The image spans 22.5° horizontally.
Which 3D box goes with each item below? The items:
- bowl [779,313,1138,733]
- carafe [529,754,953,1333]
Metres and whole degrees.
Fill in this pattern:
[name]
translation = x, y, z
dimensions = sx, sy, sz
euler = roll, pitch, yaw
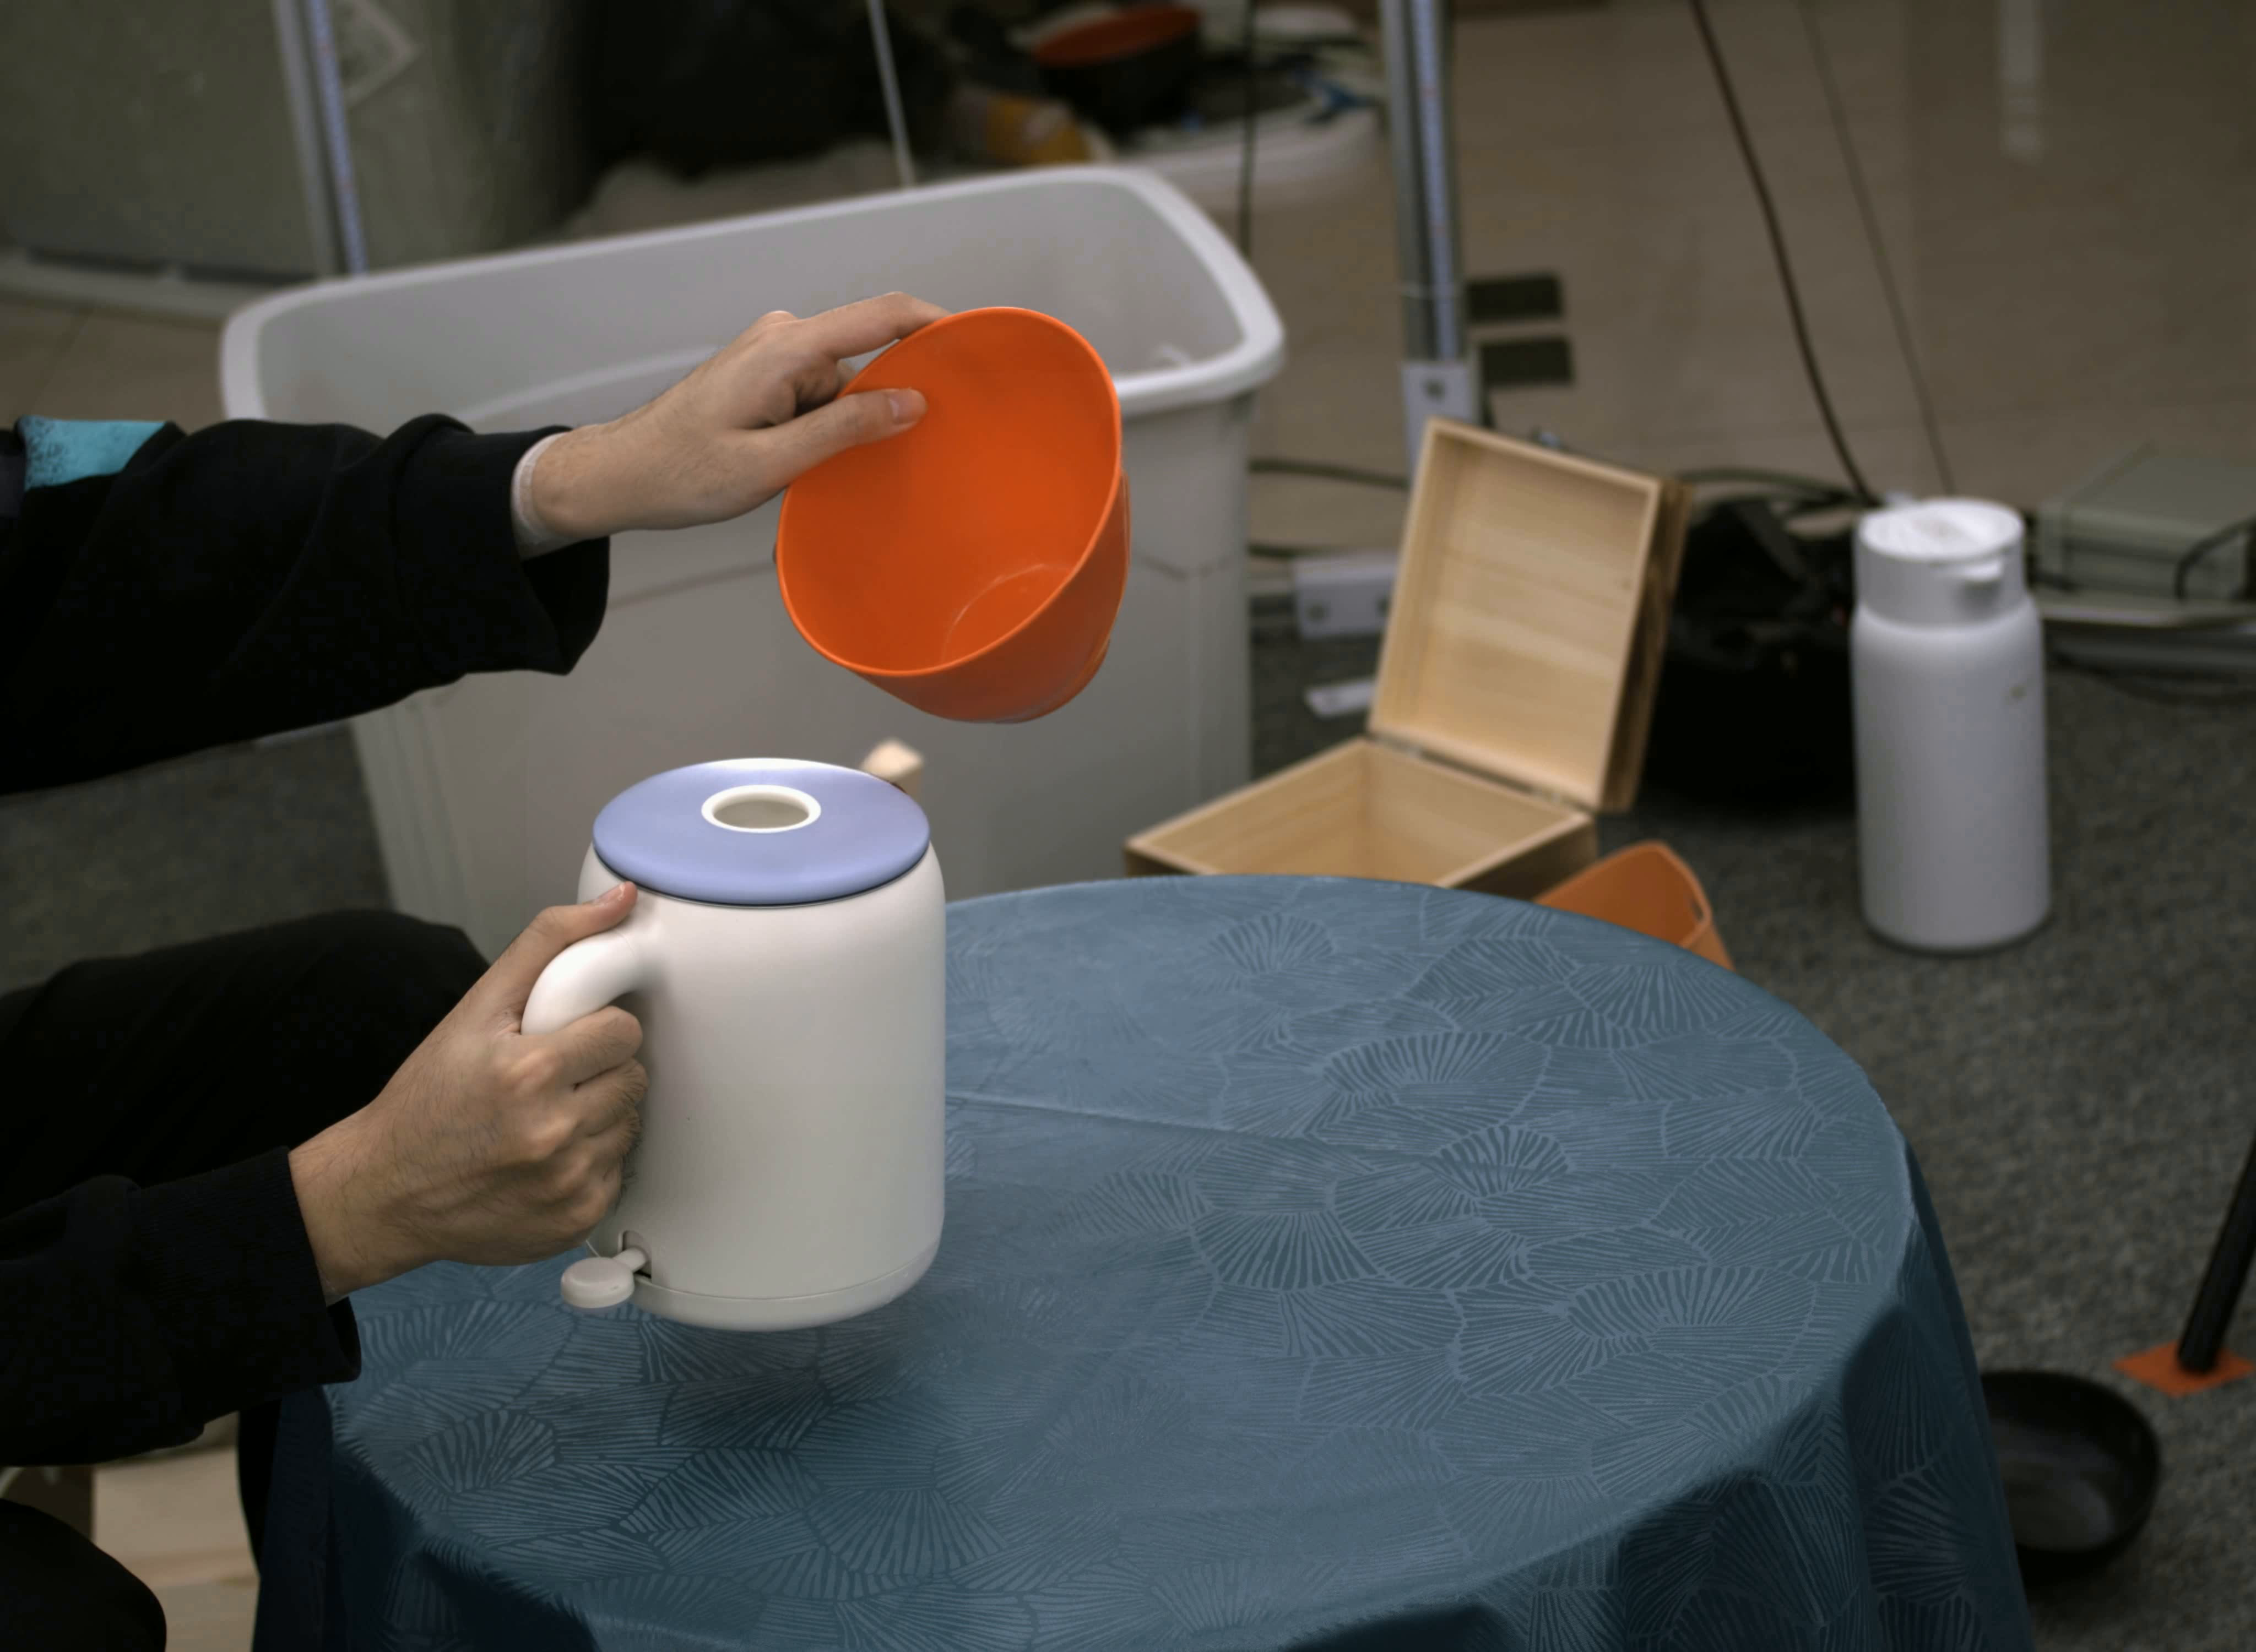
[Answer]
[bowl]
translation = -0.047, -0.098, 2.072
dimensions = 0.148, 0.106, 0.145
euler = -14, 53, 19
[carafe]
translation = -0.144, 0.084, 1.995
dimensions = 0.131, 0.185, 0.189
euler = 18, 32, 35
